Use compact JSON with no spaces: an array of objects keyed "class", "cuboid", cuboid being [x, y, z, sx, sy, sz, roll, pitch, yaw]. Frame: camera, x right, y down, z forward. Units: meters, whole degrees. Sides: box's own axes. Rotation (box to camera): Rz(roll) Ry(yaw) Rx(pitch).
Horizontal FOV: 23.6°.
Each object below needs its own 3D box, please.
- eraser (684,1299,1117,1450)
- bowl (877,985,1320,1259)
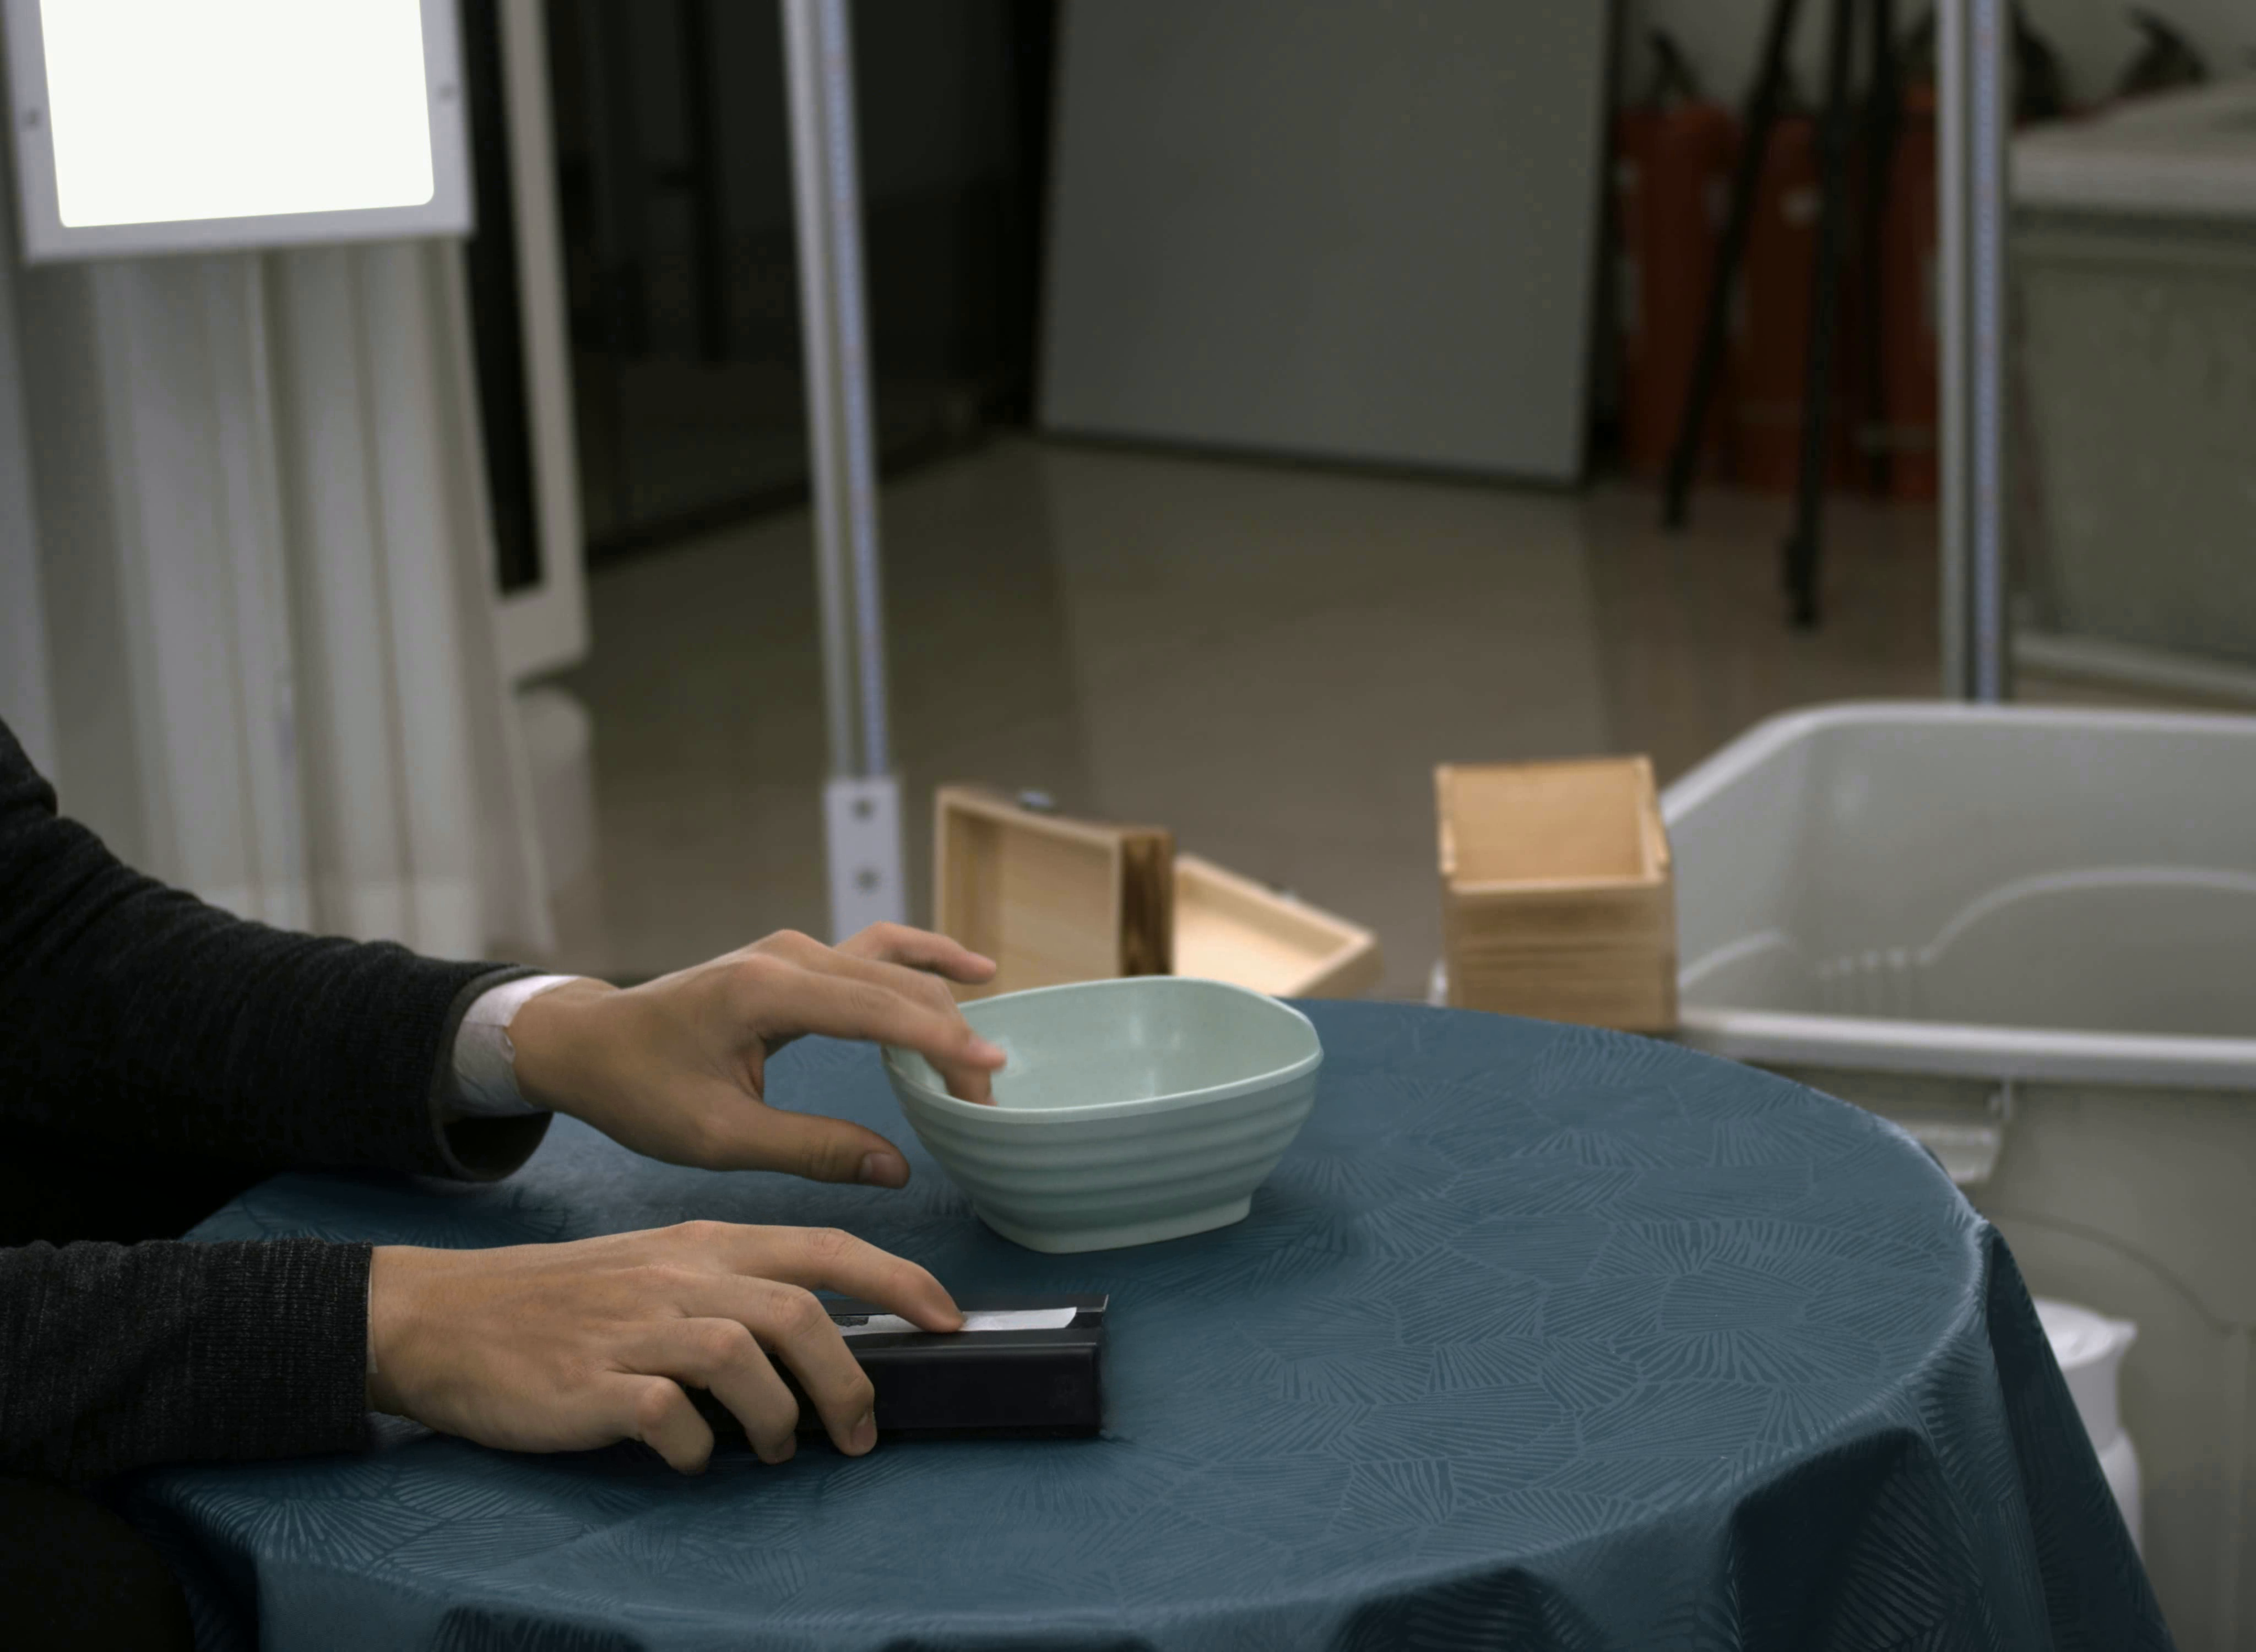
[{"class":"eraser","cuboid":[-0.064,0.159,1.573,0.124,0.031,0.053,-3,11,7]},{"class":"bowl","cuboid":[-0.009,0.098,1.749,0.149,0.059,0.151,-2,13,0]}]
